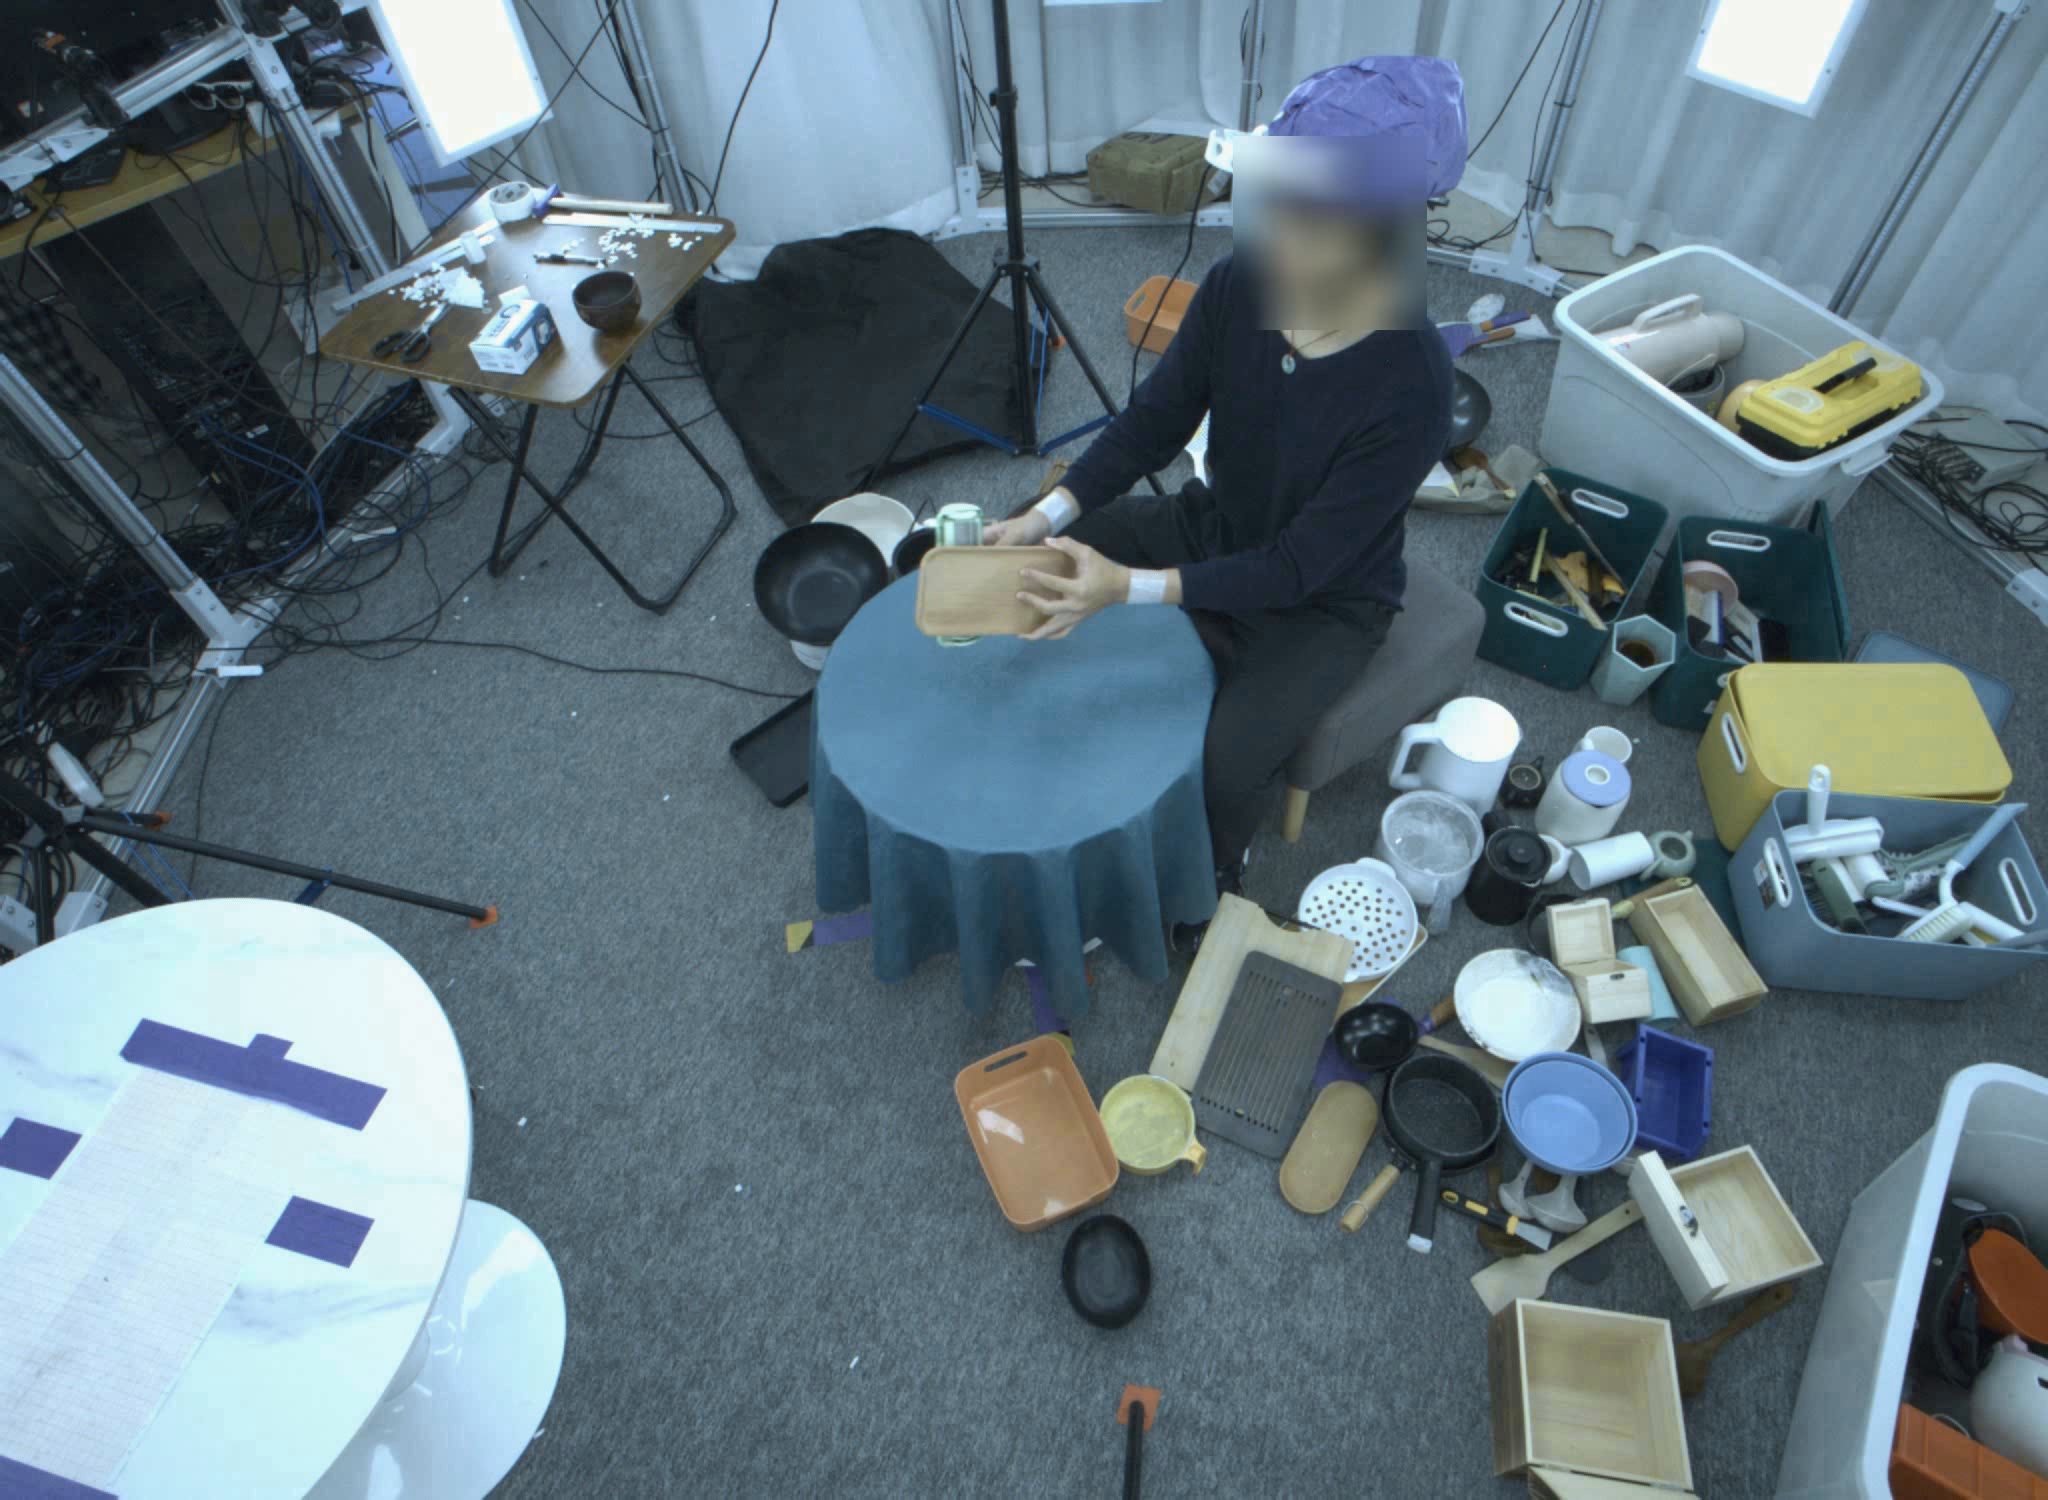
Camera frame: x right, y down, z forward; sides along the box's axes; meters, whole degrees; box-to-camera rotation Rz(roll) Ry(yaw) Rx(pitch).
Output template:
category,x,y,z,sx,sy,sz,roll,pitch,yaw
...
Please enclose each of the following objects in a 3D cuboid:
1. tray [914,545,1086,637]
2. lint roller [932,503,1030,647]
category,x,y,z,sx,sy,sz,roll,pitch,yaw
tray,-0.032,-0.222,1.693,0.255,0.131,0.022,-5,31,-29
lint roller,-0.070,-0.263,1.733,0.080,0.200,0.185,18,32,28
